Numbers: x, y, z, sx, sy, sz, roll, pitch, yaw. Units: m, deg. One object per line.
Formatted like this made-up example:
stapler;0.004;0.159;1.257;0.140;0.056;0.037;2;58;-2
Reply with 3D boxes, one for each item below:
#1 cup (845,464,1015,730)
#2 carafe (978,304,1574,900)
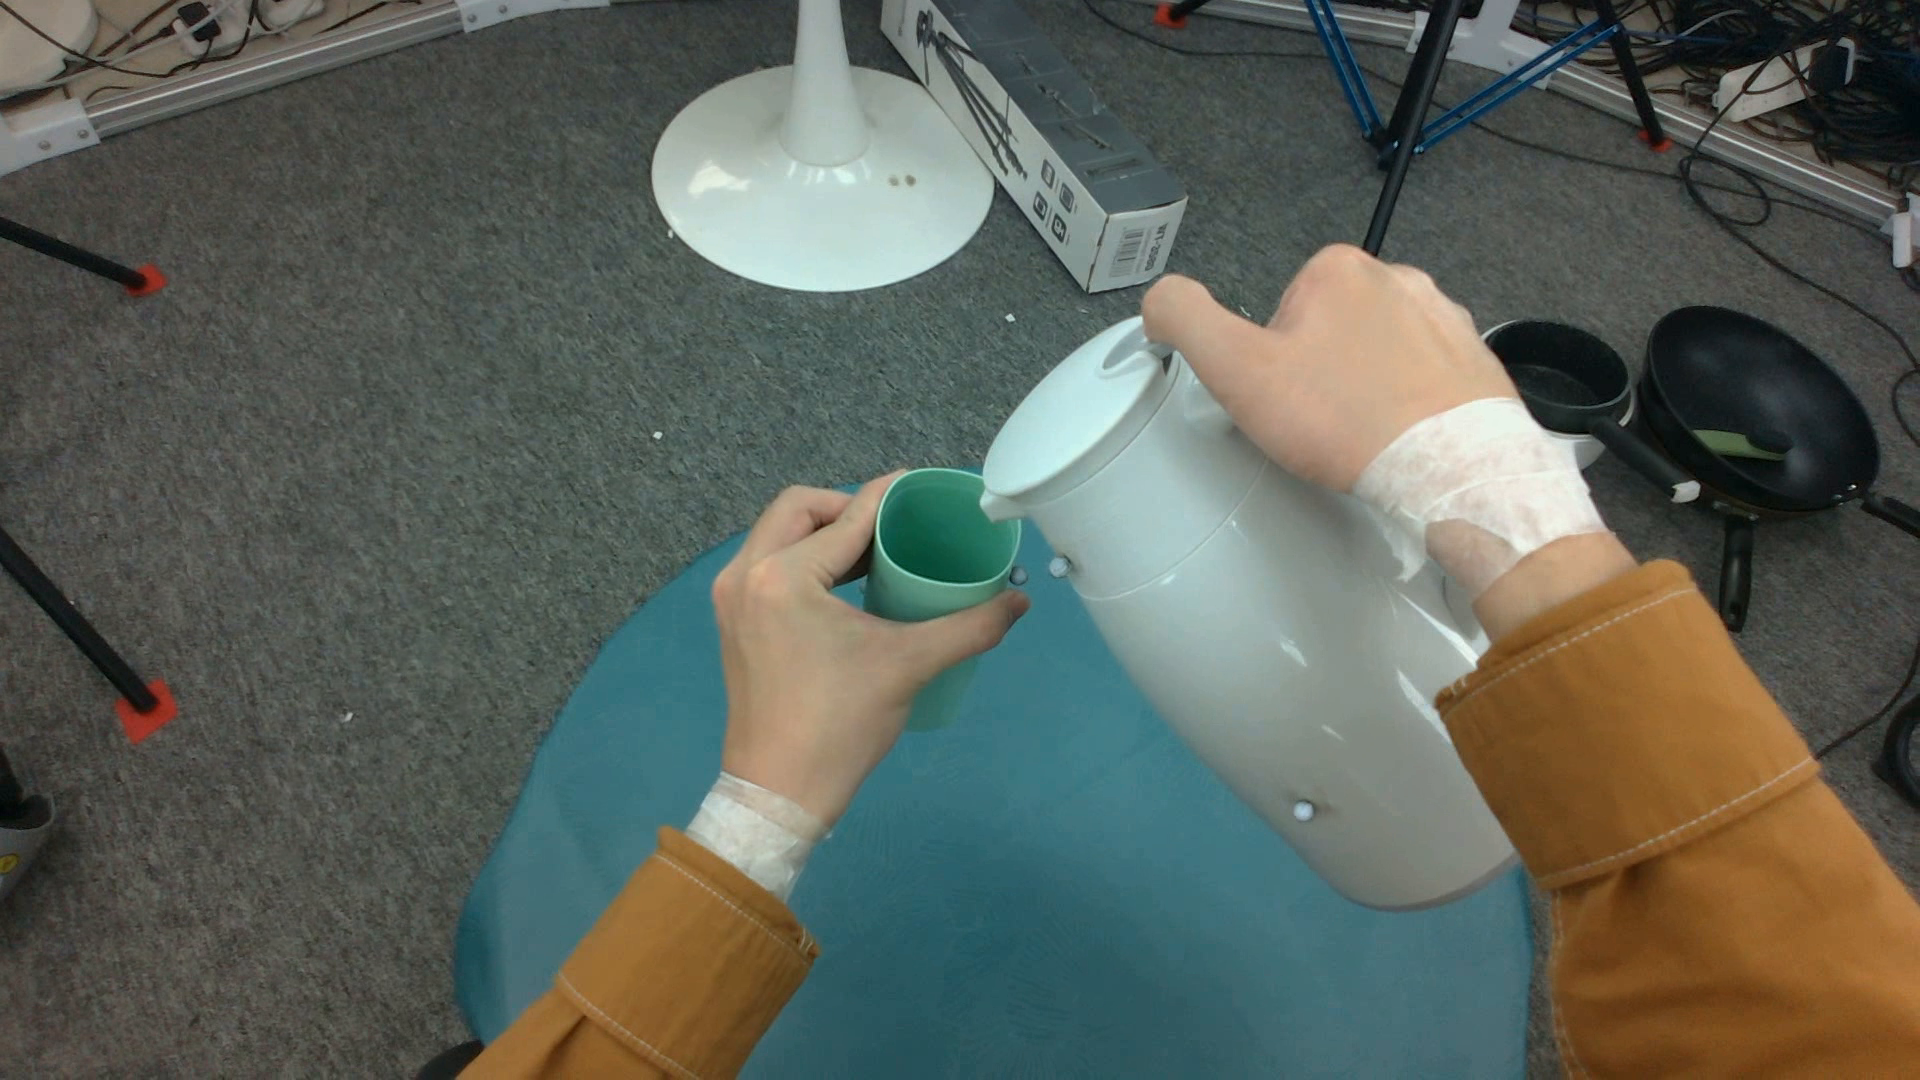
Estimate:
cup;-0.017;0.031;0.641;0.067;0.131;0.067;6;53;-7
carafe;0.134;0.013;0.545;0.248;0.167;0.133;44;41;-20
